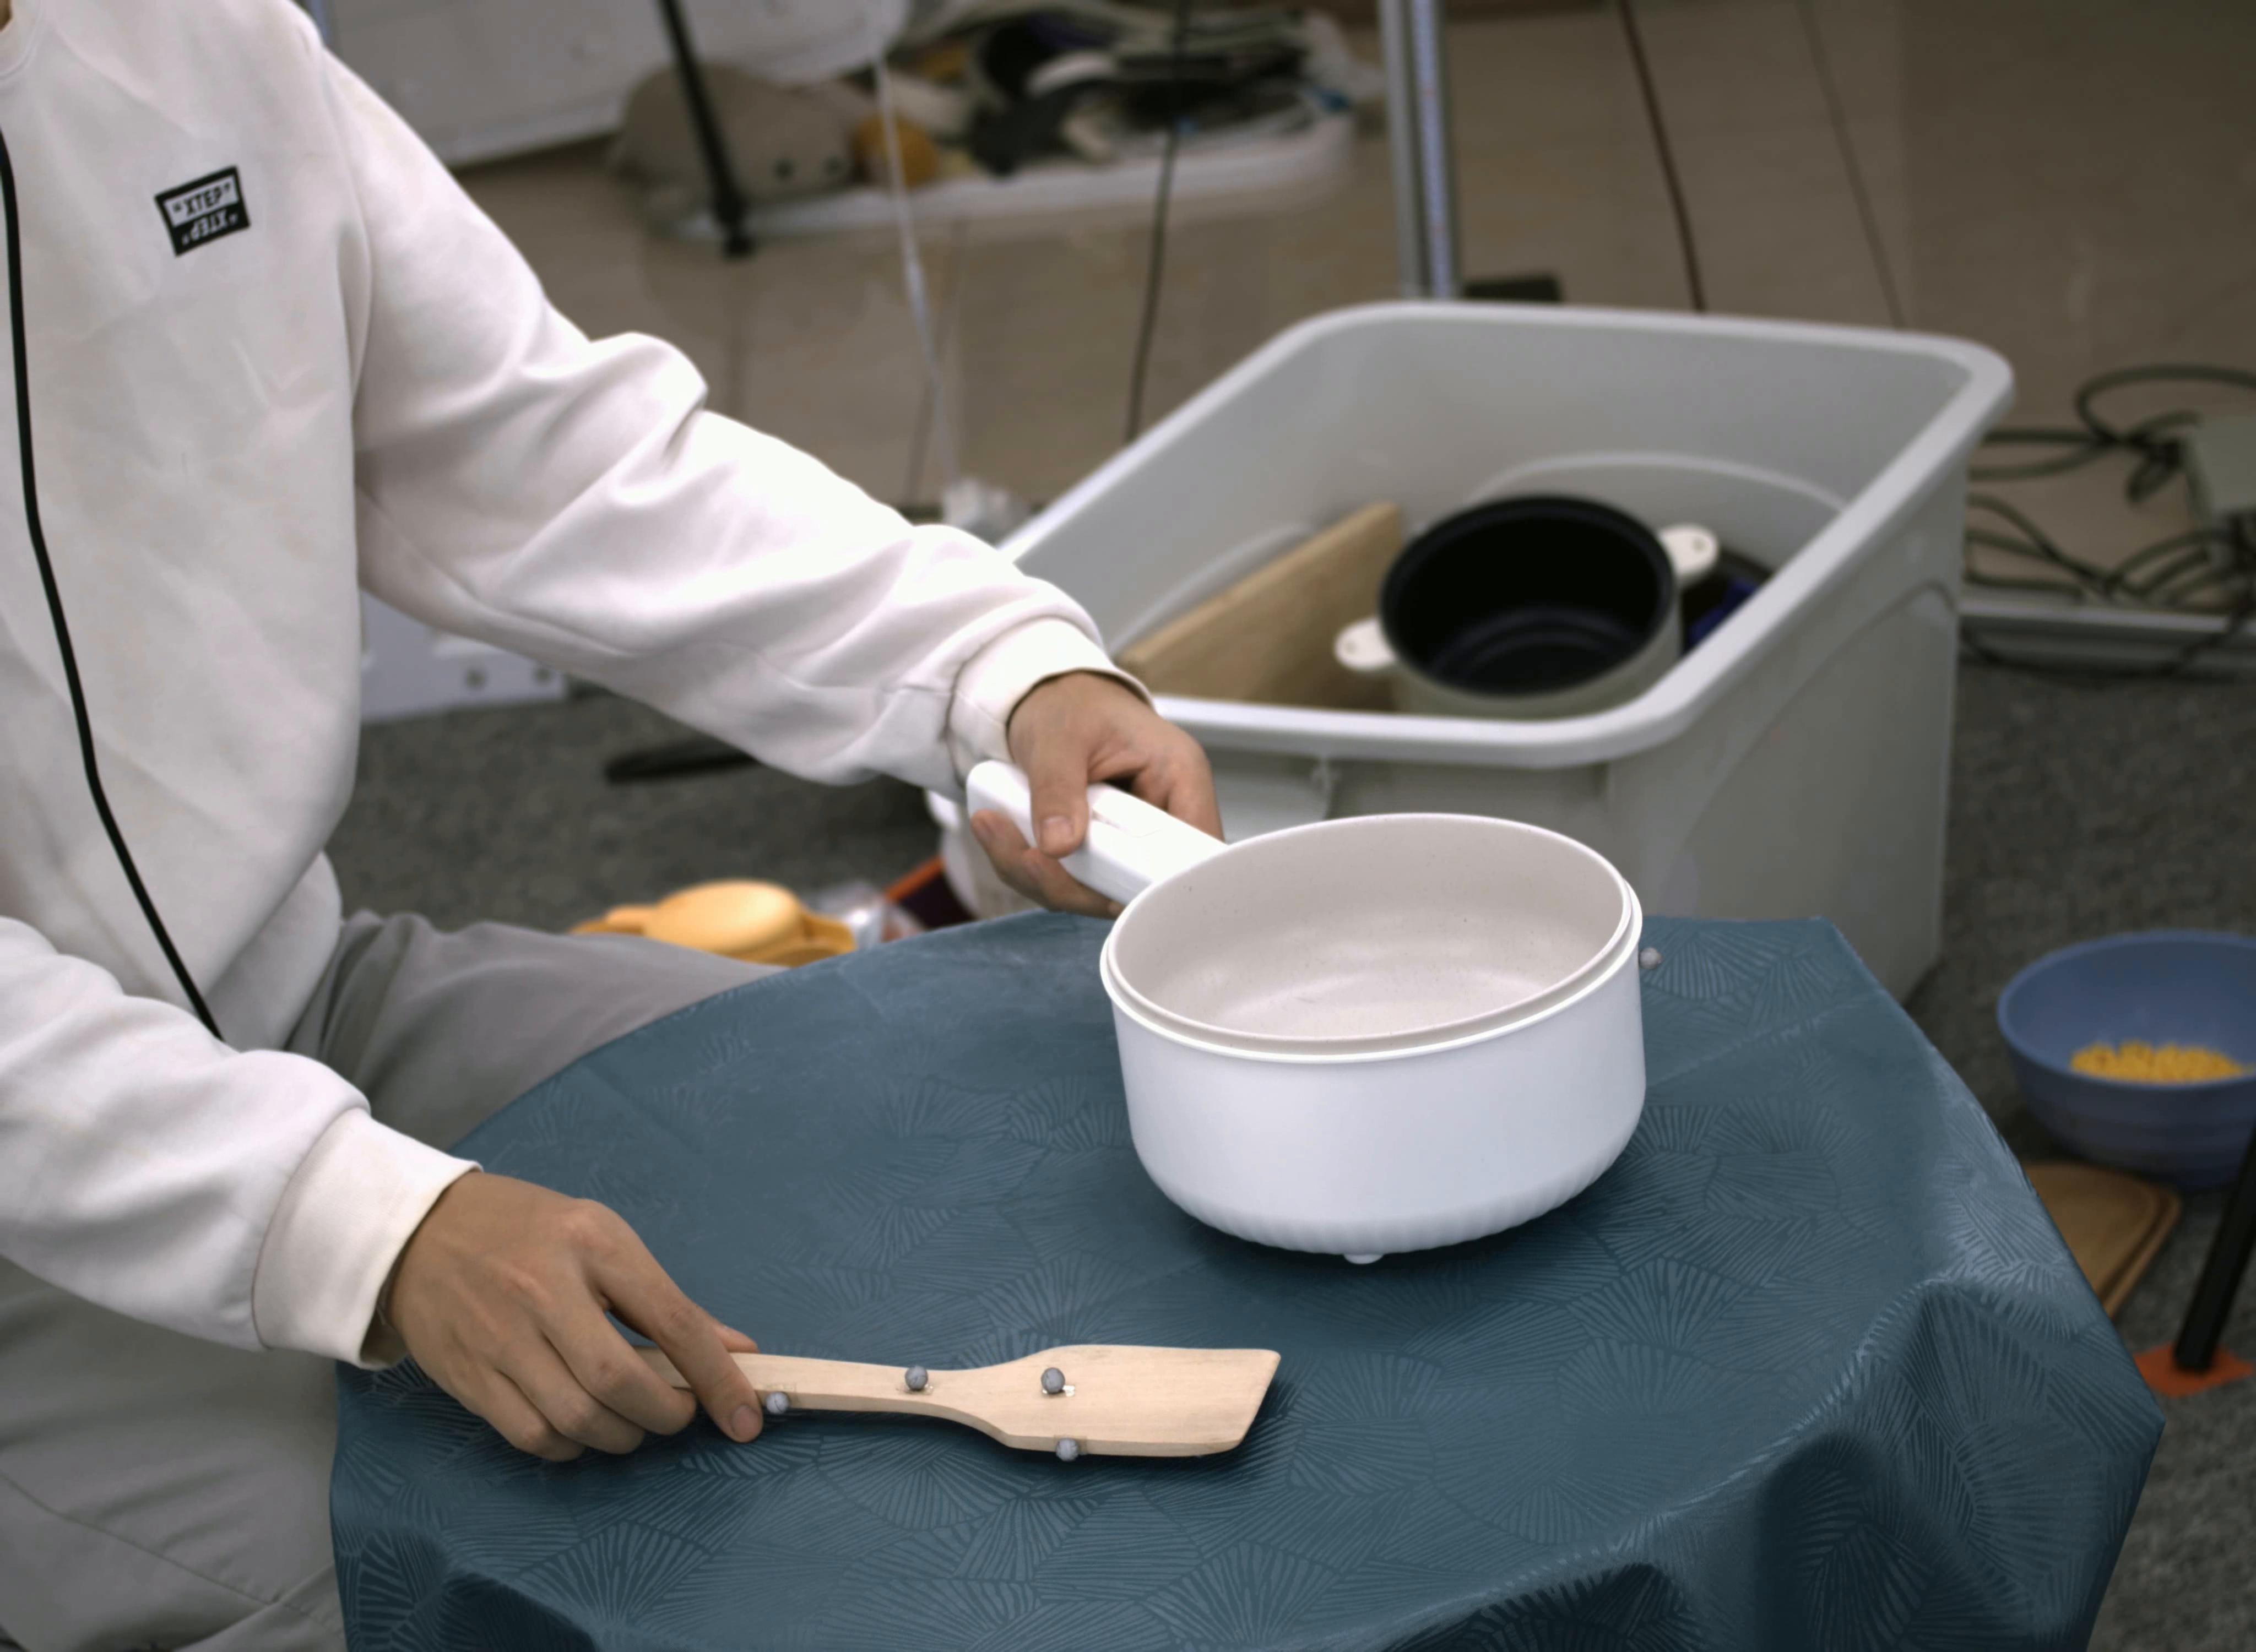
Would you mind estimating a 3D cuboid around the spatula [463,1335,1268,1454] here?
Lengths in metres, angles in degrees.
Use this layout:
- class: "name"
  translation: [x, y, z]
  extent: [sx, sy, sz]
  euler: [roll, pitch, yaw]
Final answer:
- class: "spatula"
  translation: [-0.098, 0.198, 2.015]
  extent: [0.292, 0.011, 0.071]
  euler: [2, 24, 14]

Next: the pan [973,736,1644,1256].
- class: "pan"
  translation: [0.052, 0.058, 2.175]
  extent: [0.200, 0.103, 0.351]
  euler: [-21, 27, -28]
